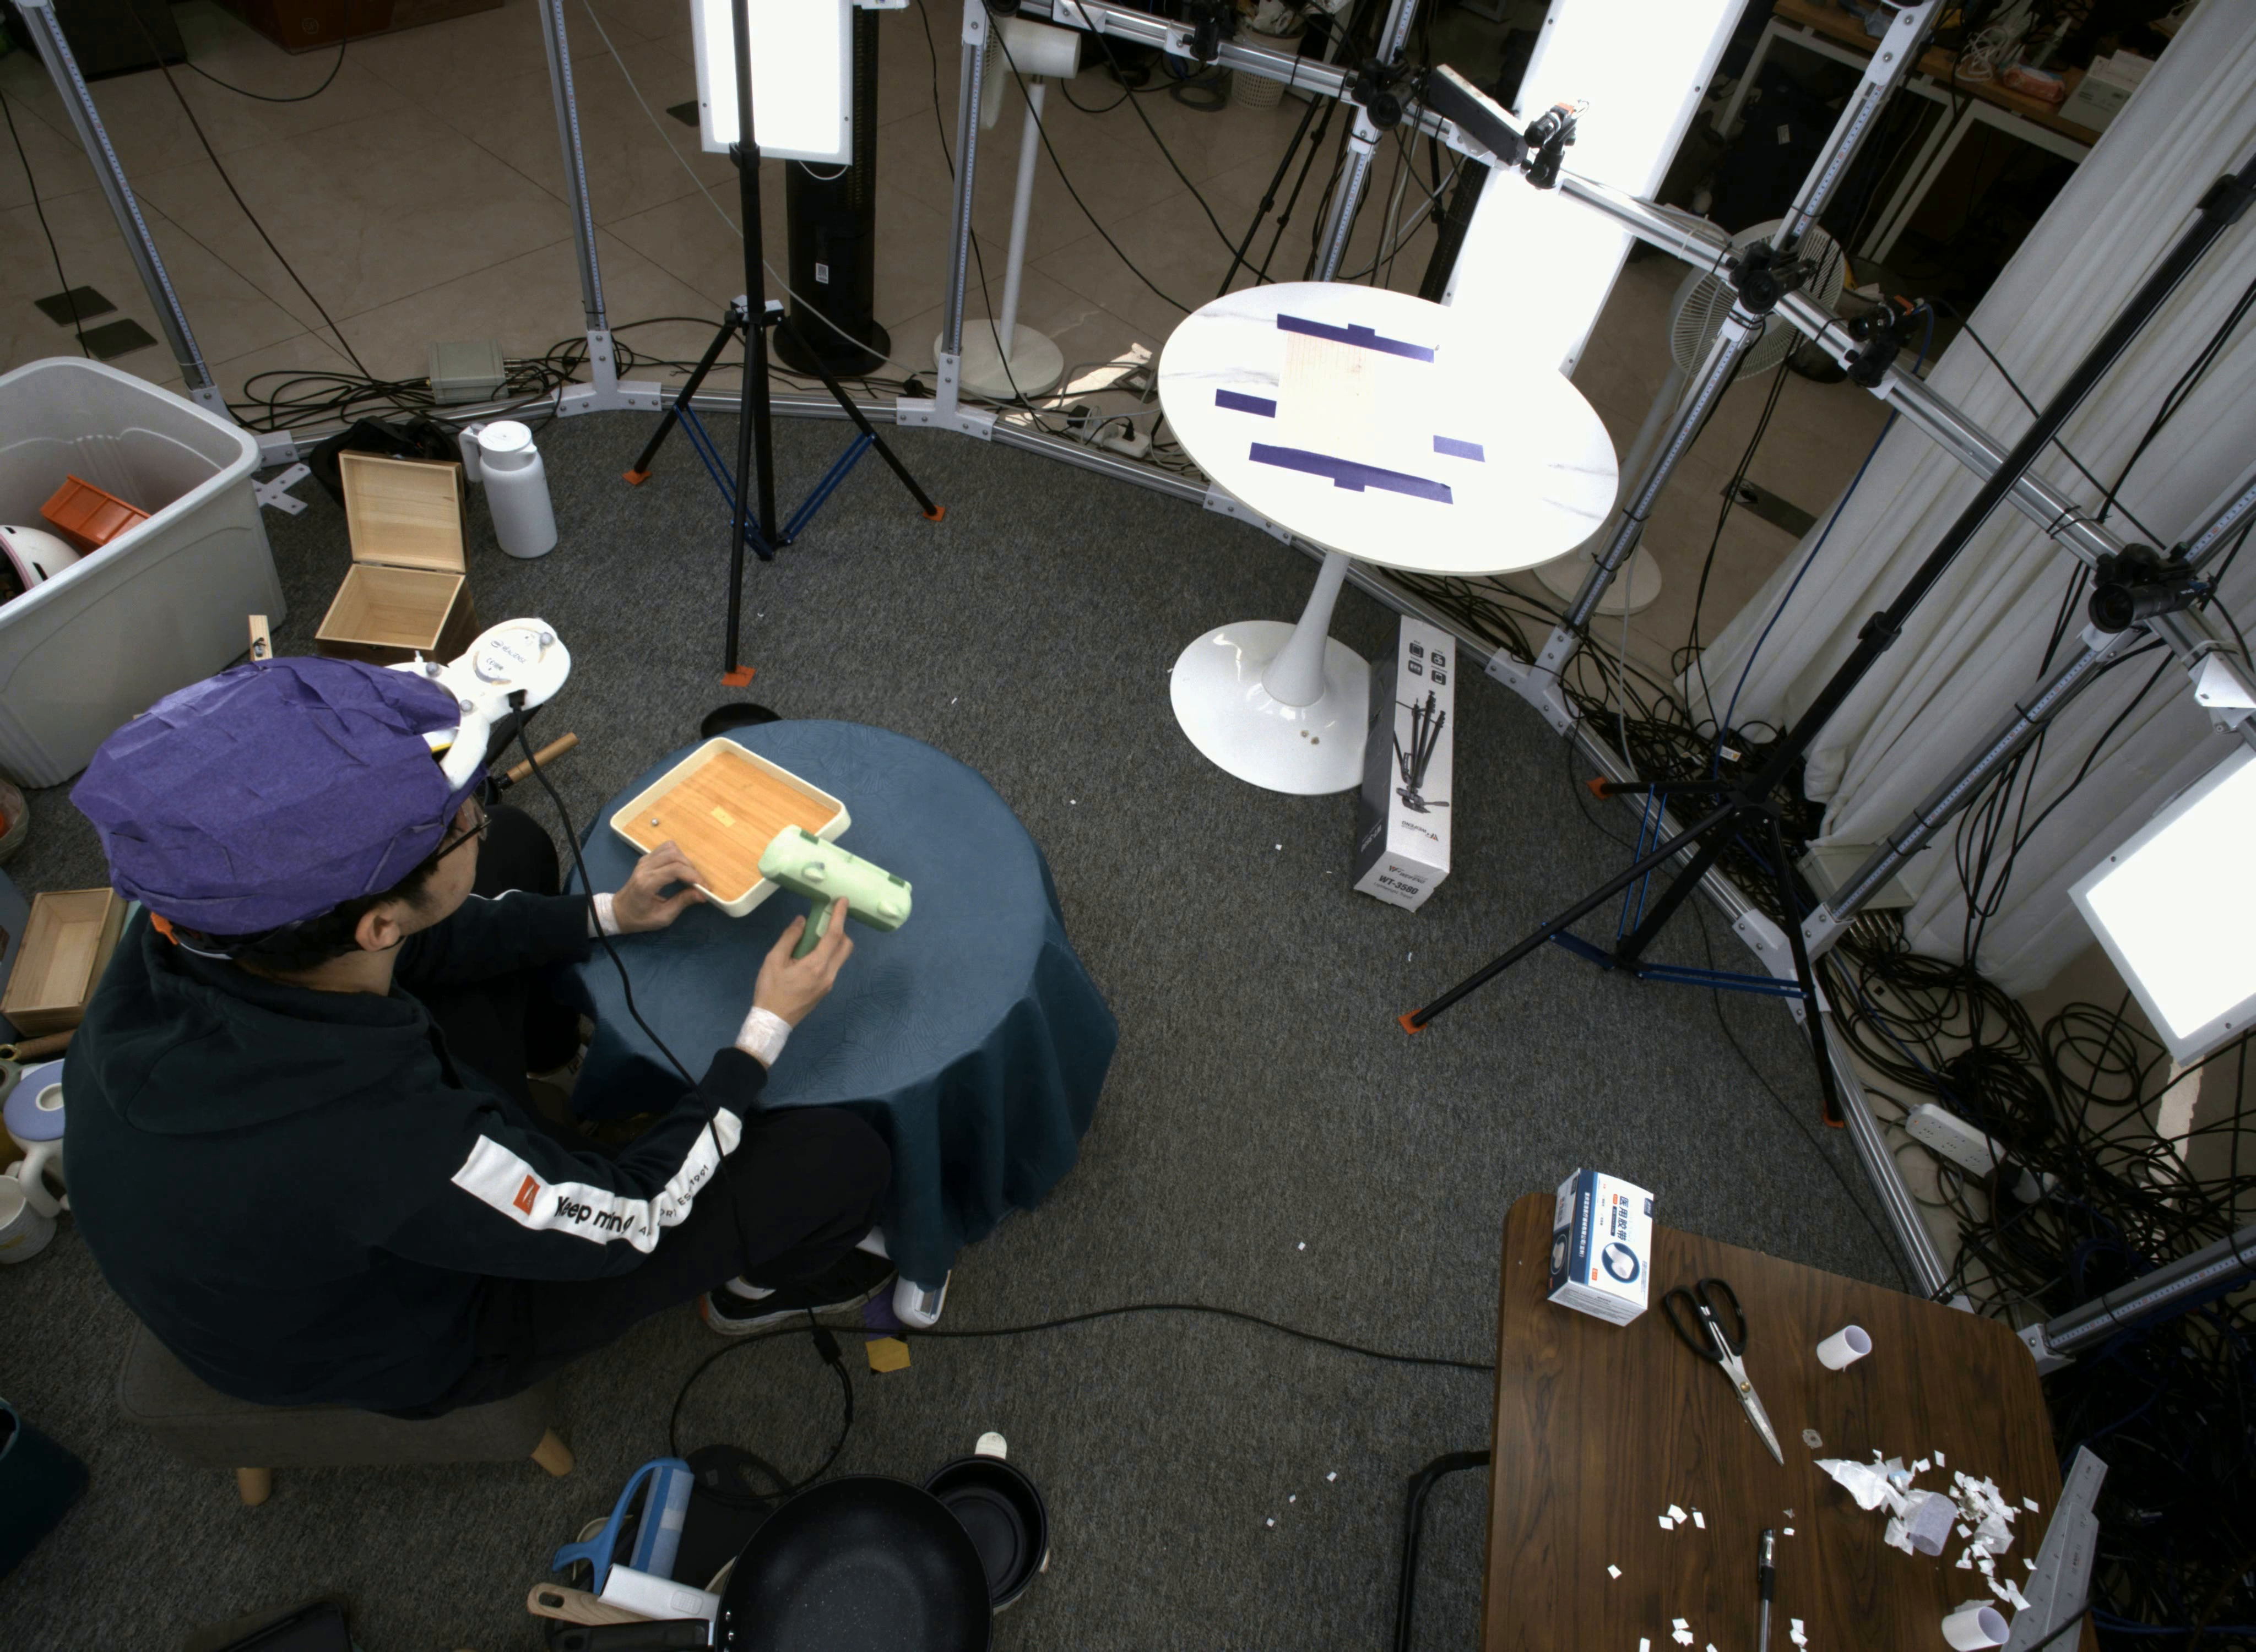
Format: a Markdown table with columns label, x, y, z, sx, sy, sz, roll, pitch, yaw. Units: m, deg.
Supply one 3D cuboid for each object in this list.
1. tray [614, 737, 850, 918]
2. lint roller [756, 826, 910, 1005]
| label | x | y | z | sx | sy | sz | roll | pitch | yaw |
| --- | --- | --- | --- | --- | --- | --- | --- | --- | --- |
| tray | -0.500 | -0.006 | 1.613 | 0.289 | 0.028 | 0.191 | 25 | 57 | 35 |
| lint roller | -0.350 | 0.119 | 1.497 | 0.079 | 0.205 | 0.183 | 4 | 70 | 40 |
